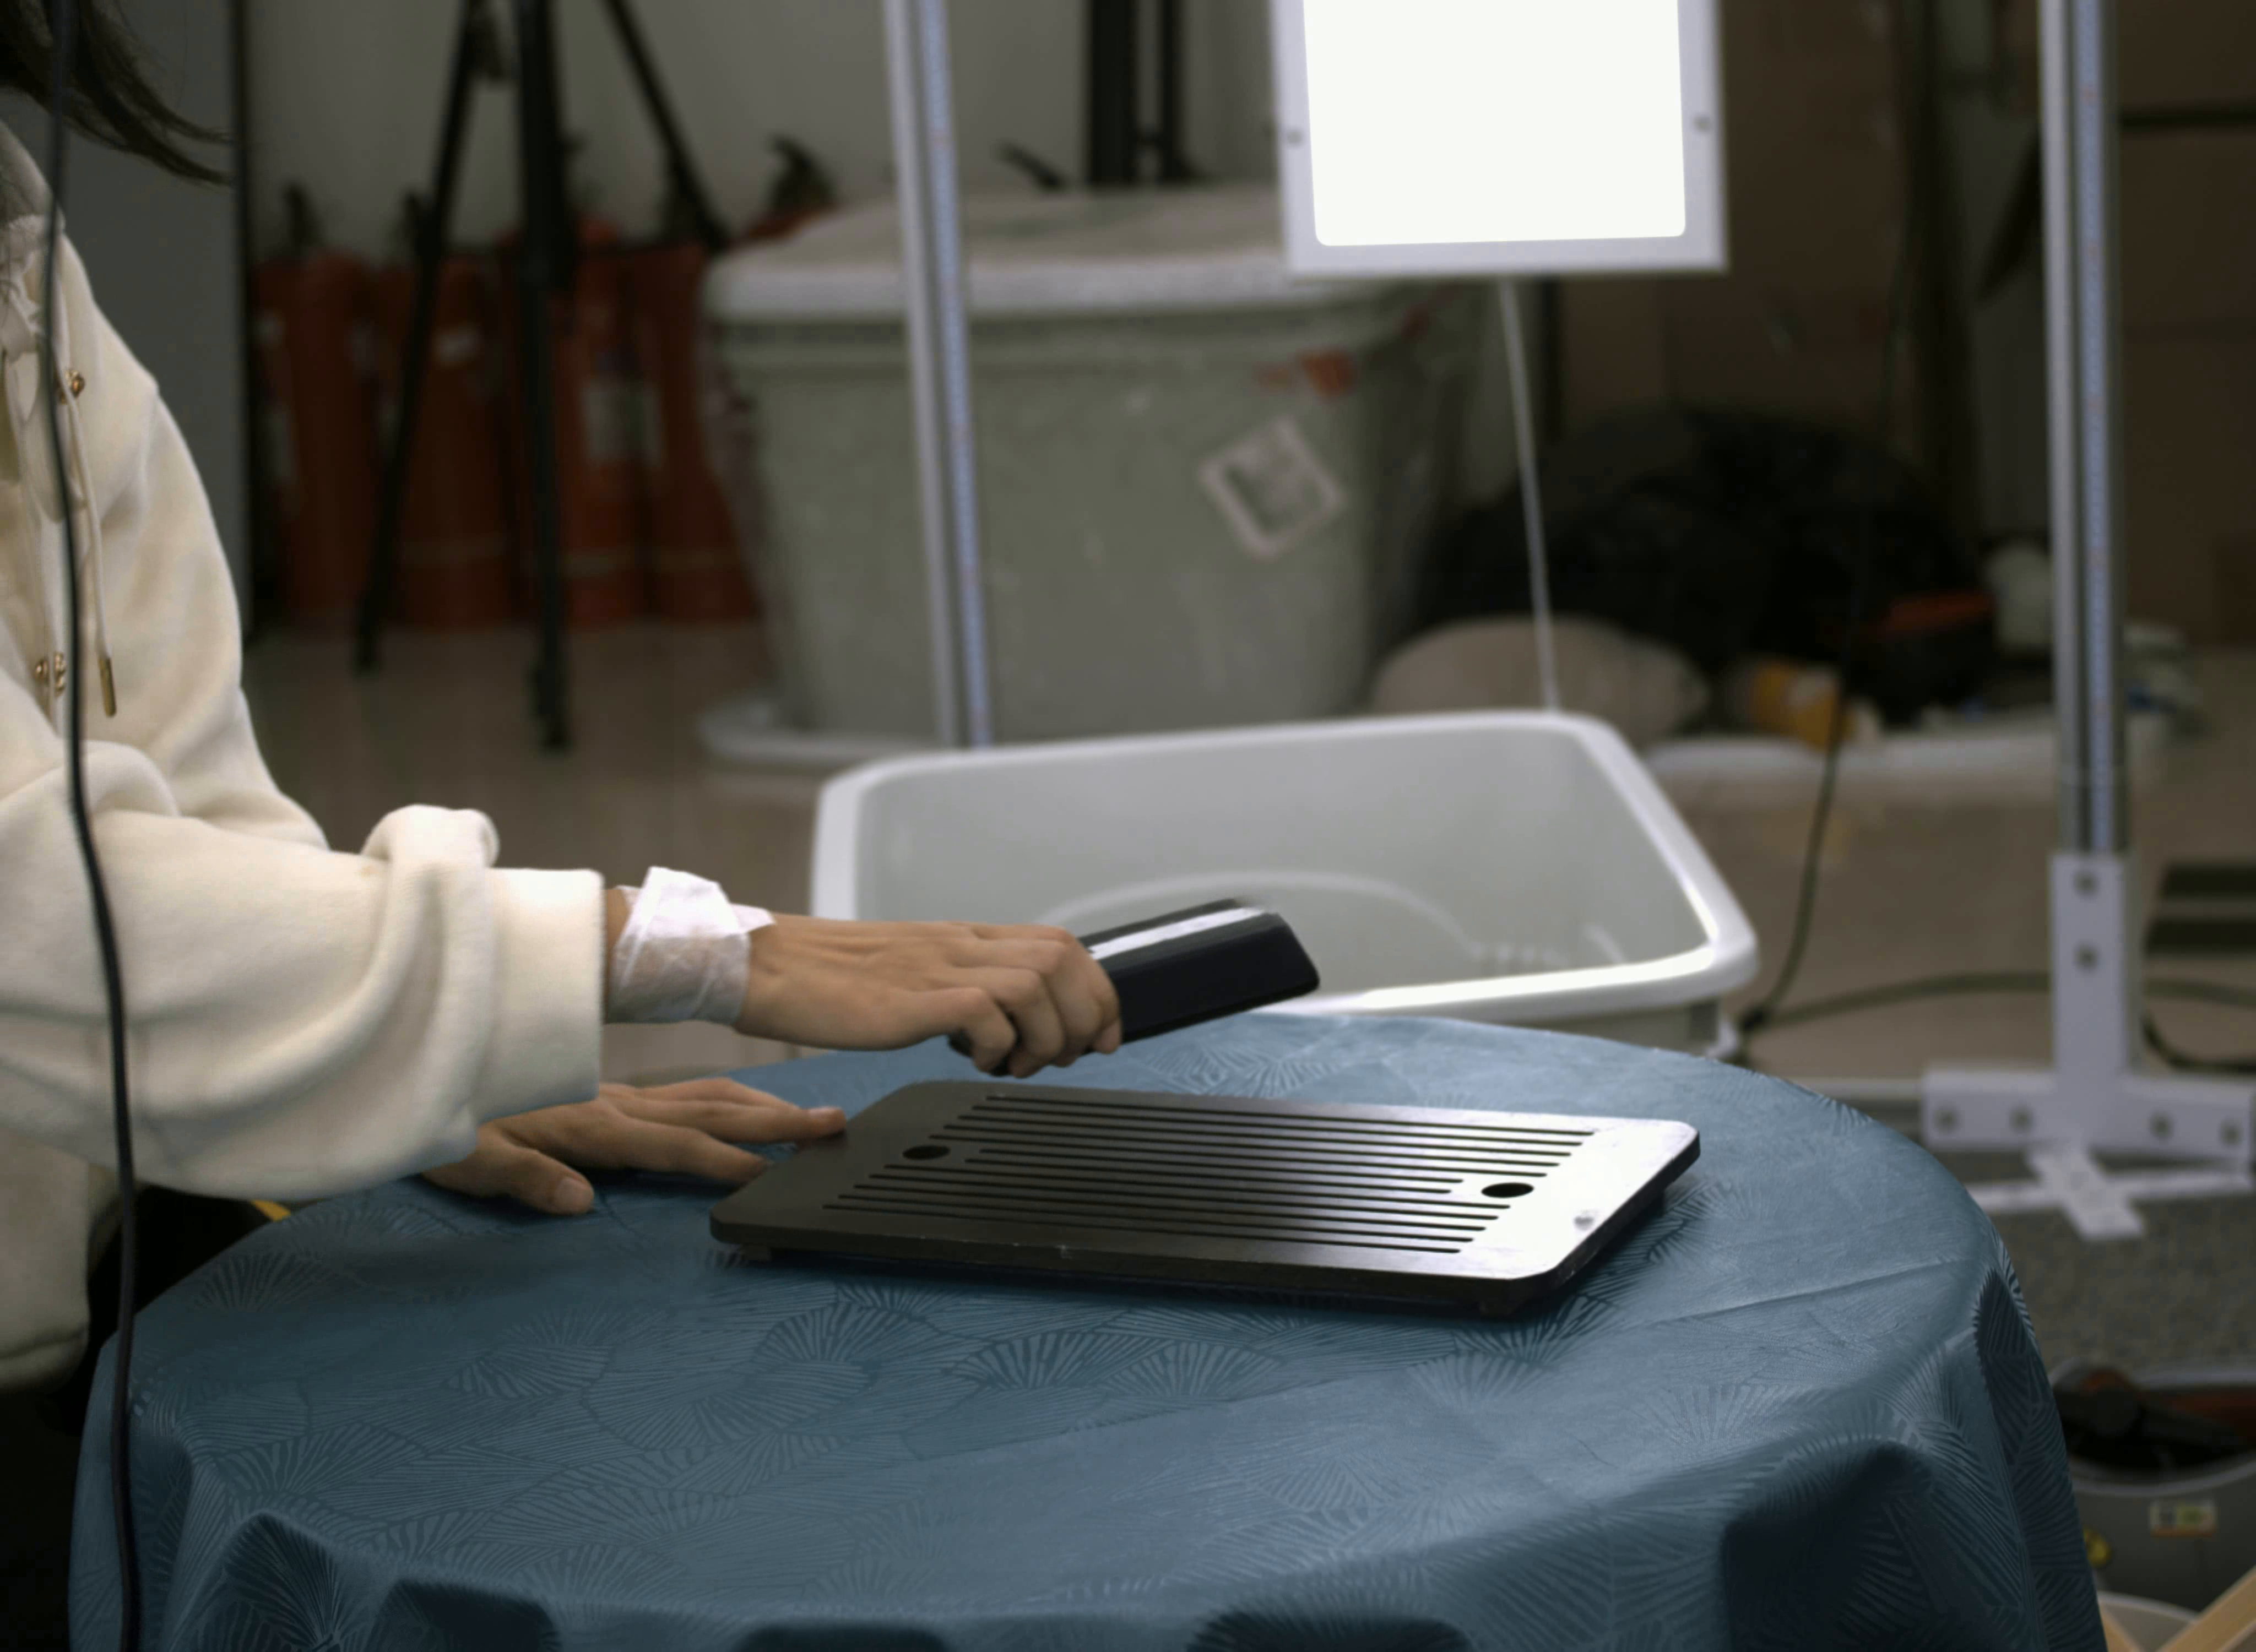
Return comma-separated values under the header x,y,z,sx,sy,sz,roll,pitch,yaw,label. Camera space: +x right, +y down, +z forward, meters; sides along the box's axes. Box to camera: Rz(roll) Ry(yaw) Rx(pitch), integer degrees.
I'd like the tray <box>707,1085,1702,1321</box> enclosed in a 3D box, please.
x,y,z,sx,sy,sz,roll,pitch,yaw,label
0.027,0.125,1.856,0.311,0.019,0.166,2,16,26,tray

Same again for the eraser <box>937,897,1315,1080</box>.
x,y,z,sx,sy,sz,roll,pitch,yaw,label
0.000,0.055,1.907,0.123,0.030,0.054,-16,12,-17,eraser
